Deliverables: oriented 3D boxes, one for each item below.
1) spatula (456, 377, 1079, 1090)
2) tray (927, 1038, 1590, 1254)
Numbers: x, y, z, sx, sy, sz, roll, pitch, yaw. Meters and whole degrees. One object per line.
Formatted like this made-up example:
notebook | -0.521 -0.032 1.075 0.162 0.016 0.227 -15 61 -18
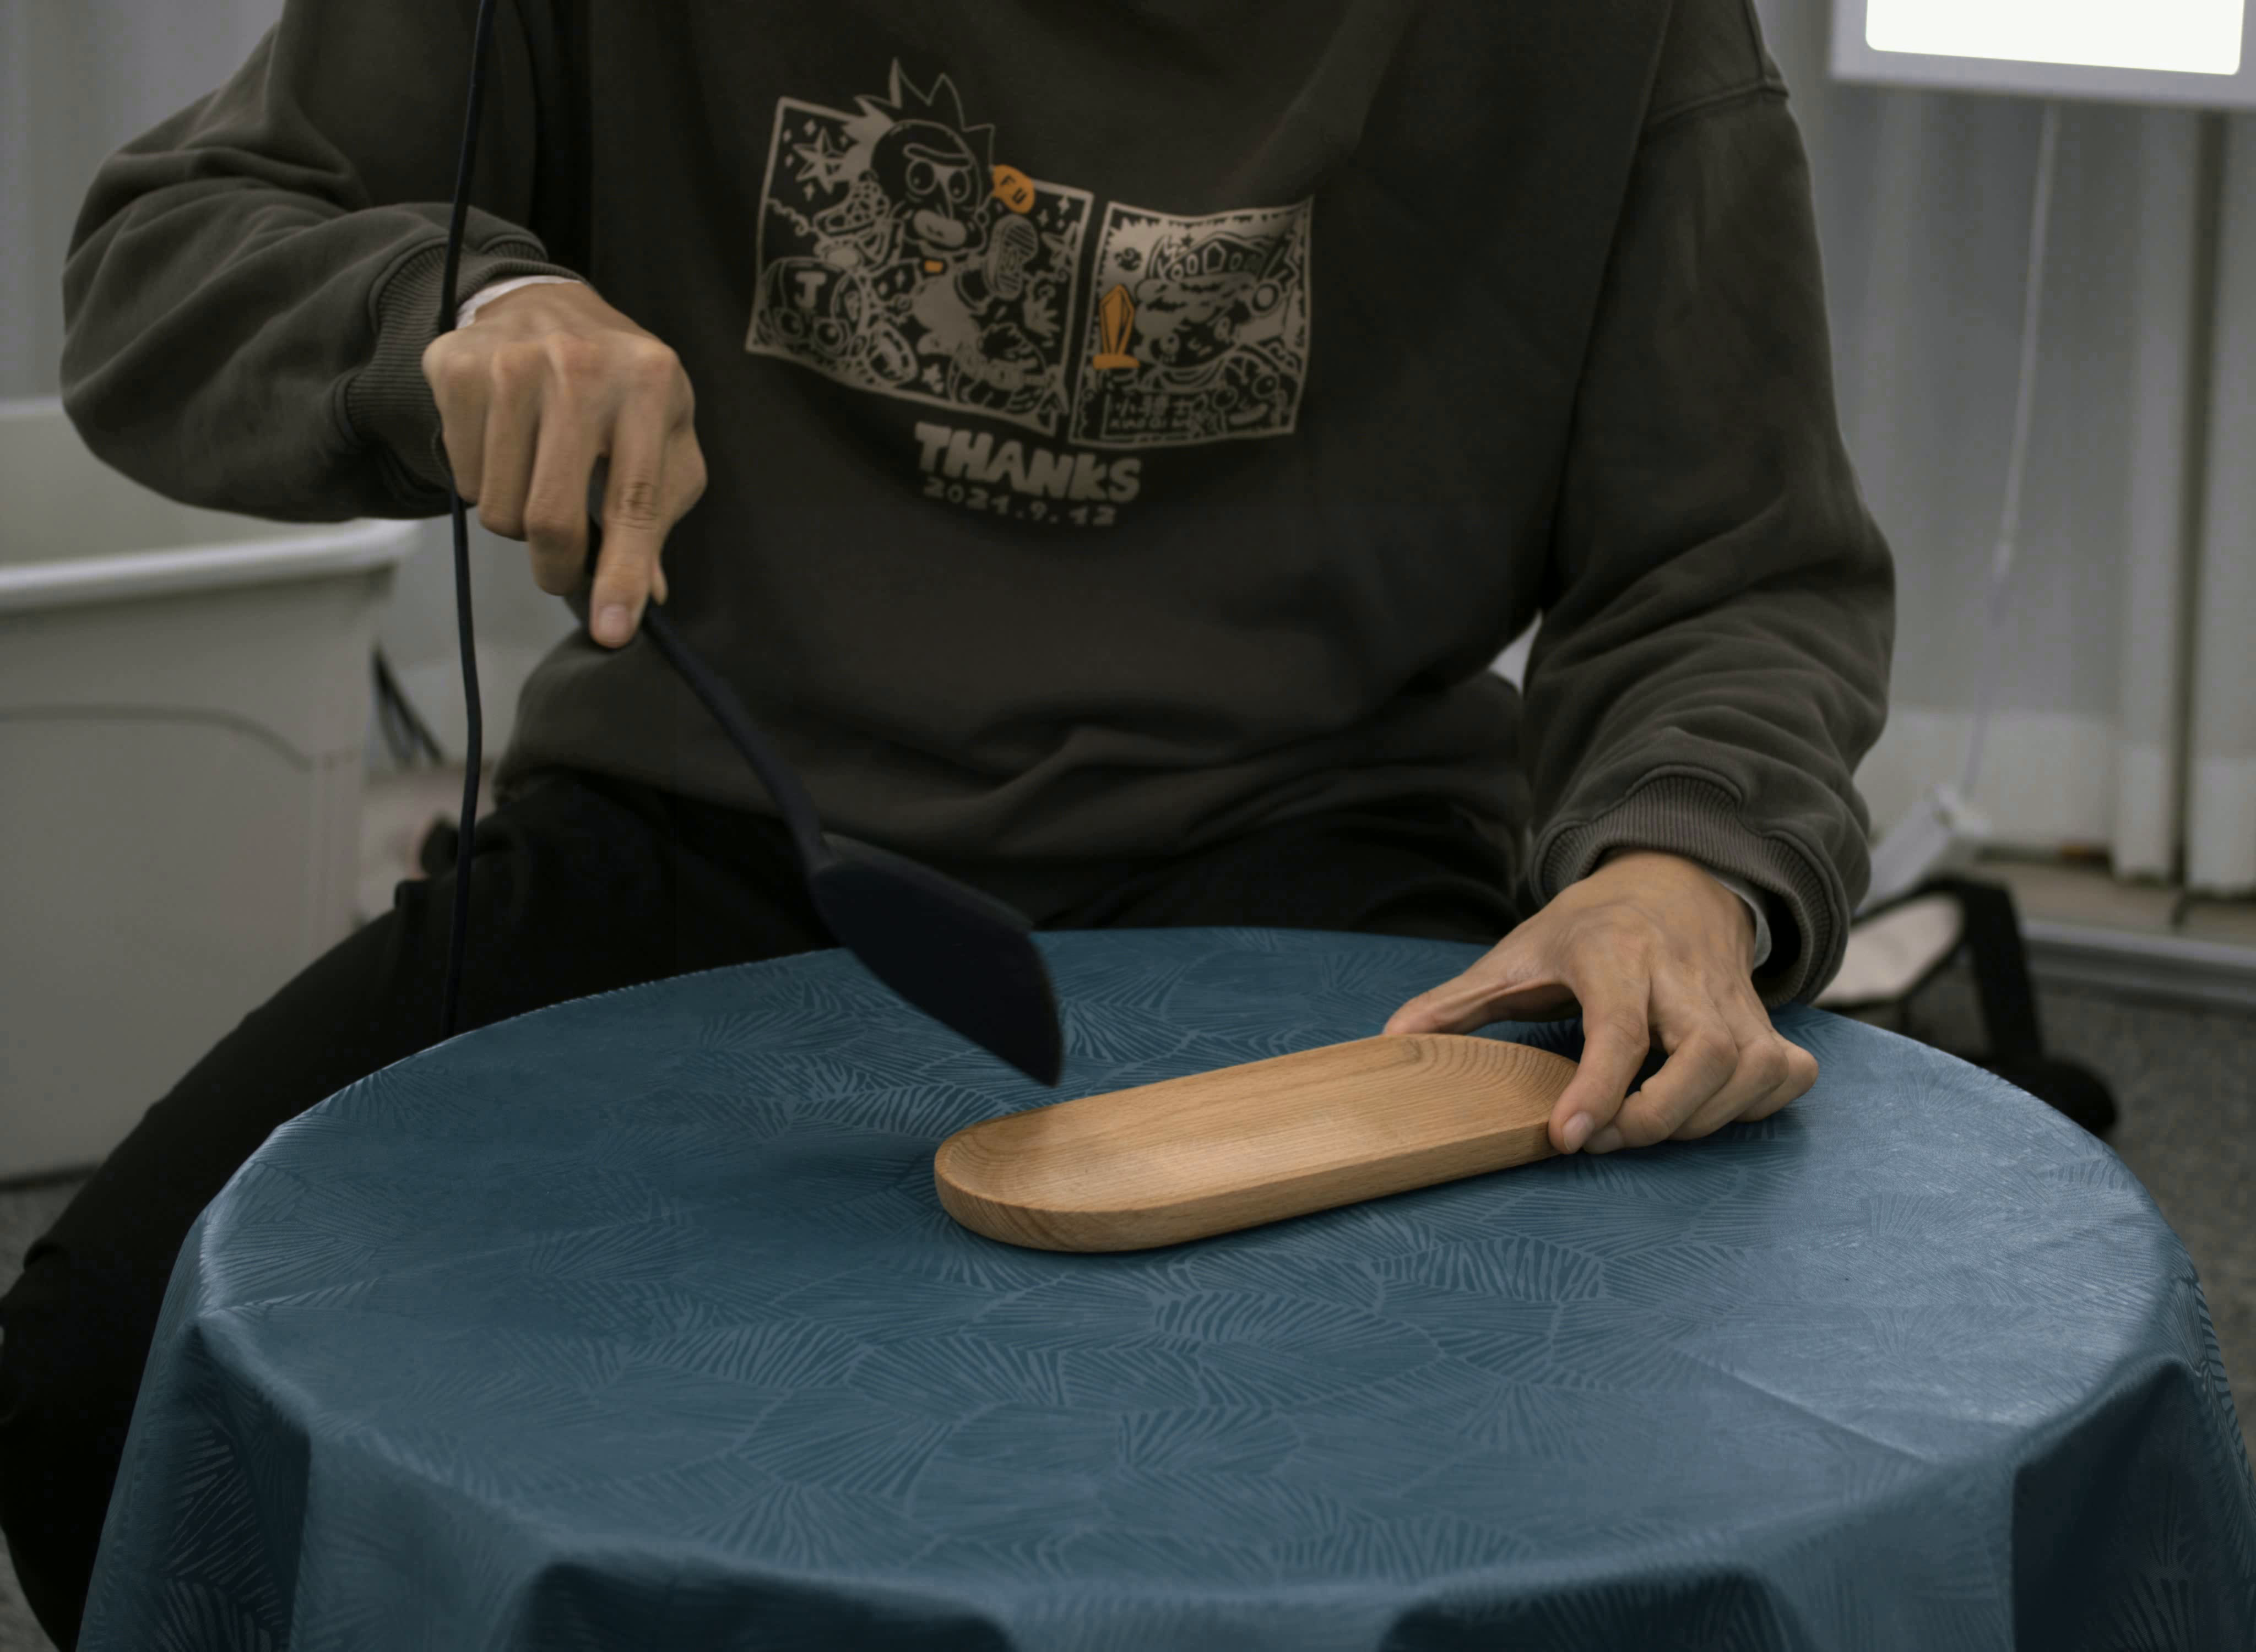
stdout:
spatula | -0.121 -0.042 1.688 0.040 0.101 0.322 -30 62 -17
tray | 0.043 0.100 1.650 0.232 0.020 0.100 -11 18 -33
